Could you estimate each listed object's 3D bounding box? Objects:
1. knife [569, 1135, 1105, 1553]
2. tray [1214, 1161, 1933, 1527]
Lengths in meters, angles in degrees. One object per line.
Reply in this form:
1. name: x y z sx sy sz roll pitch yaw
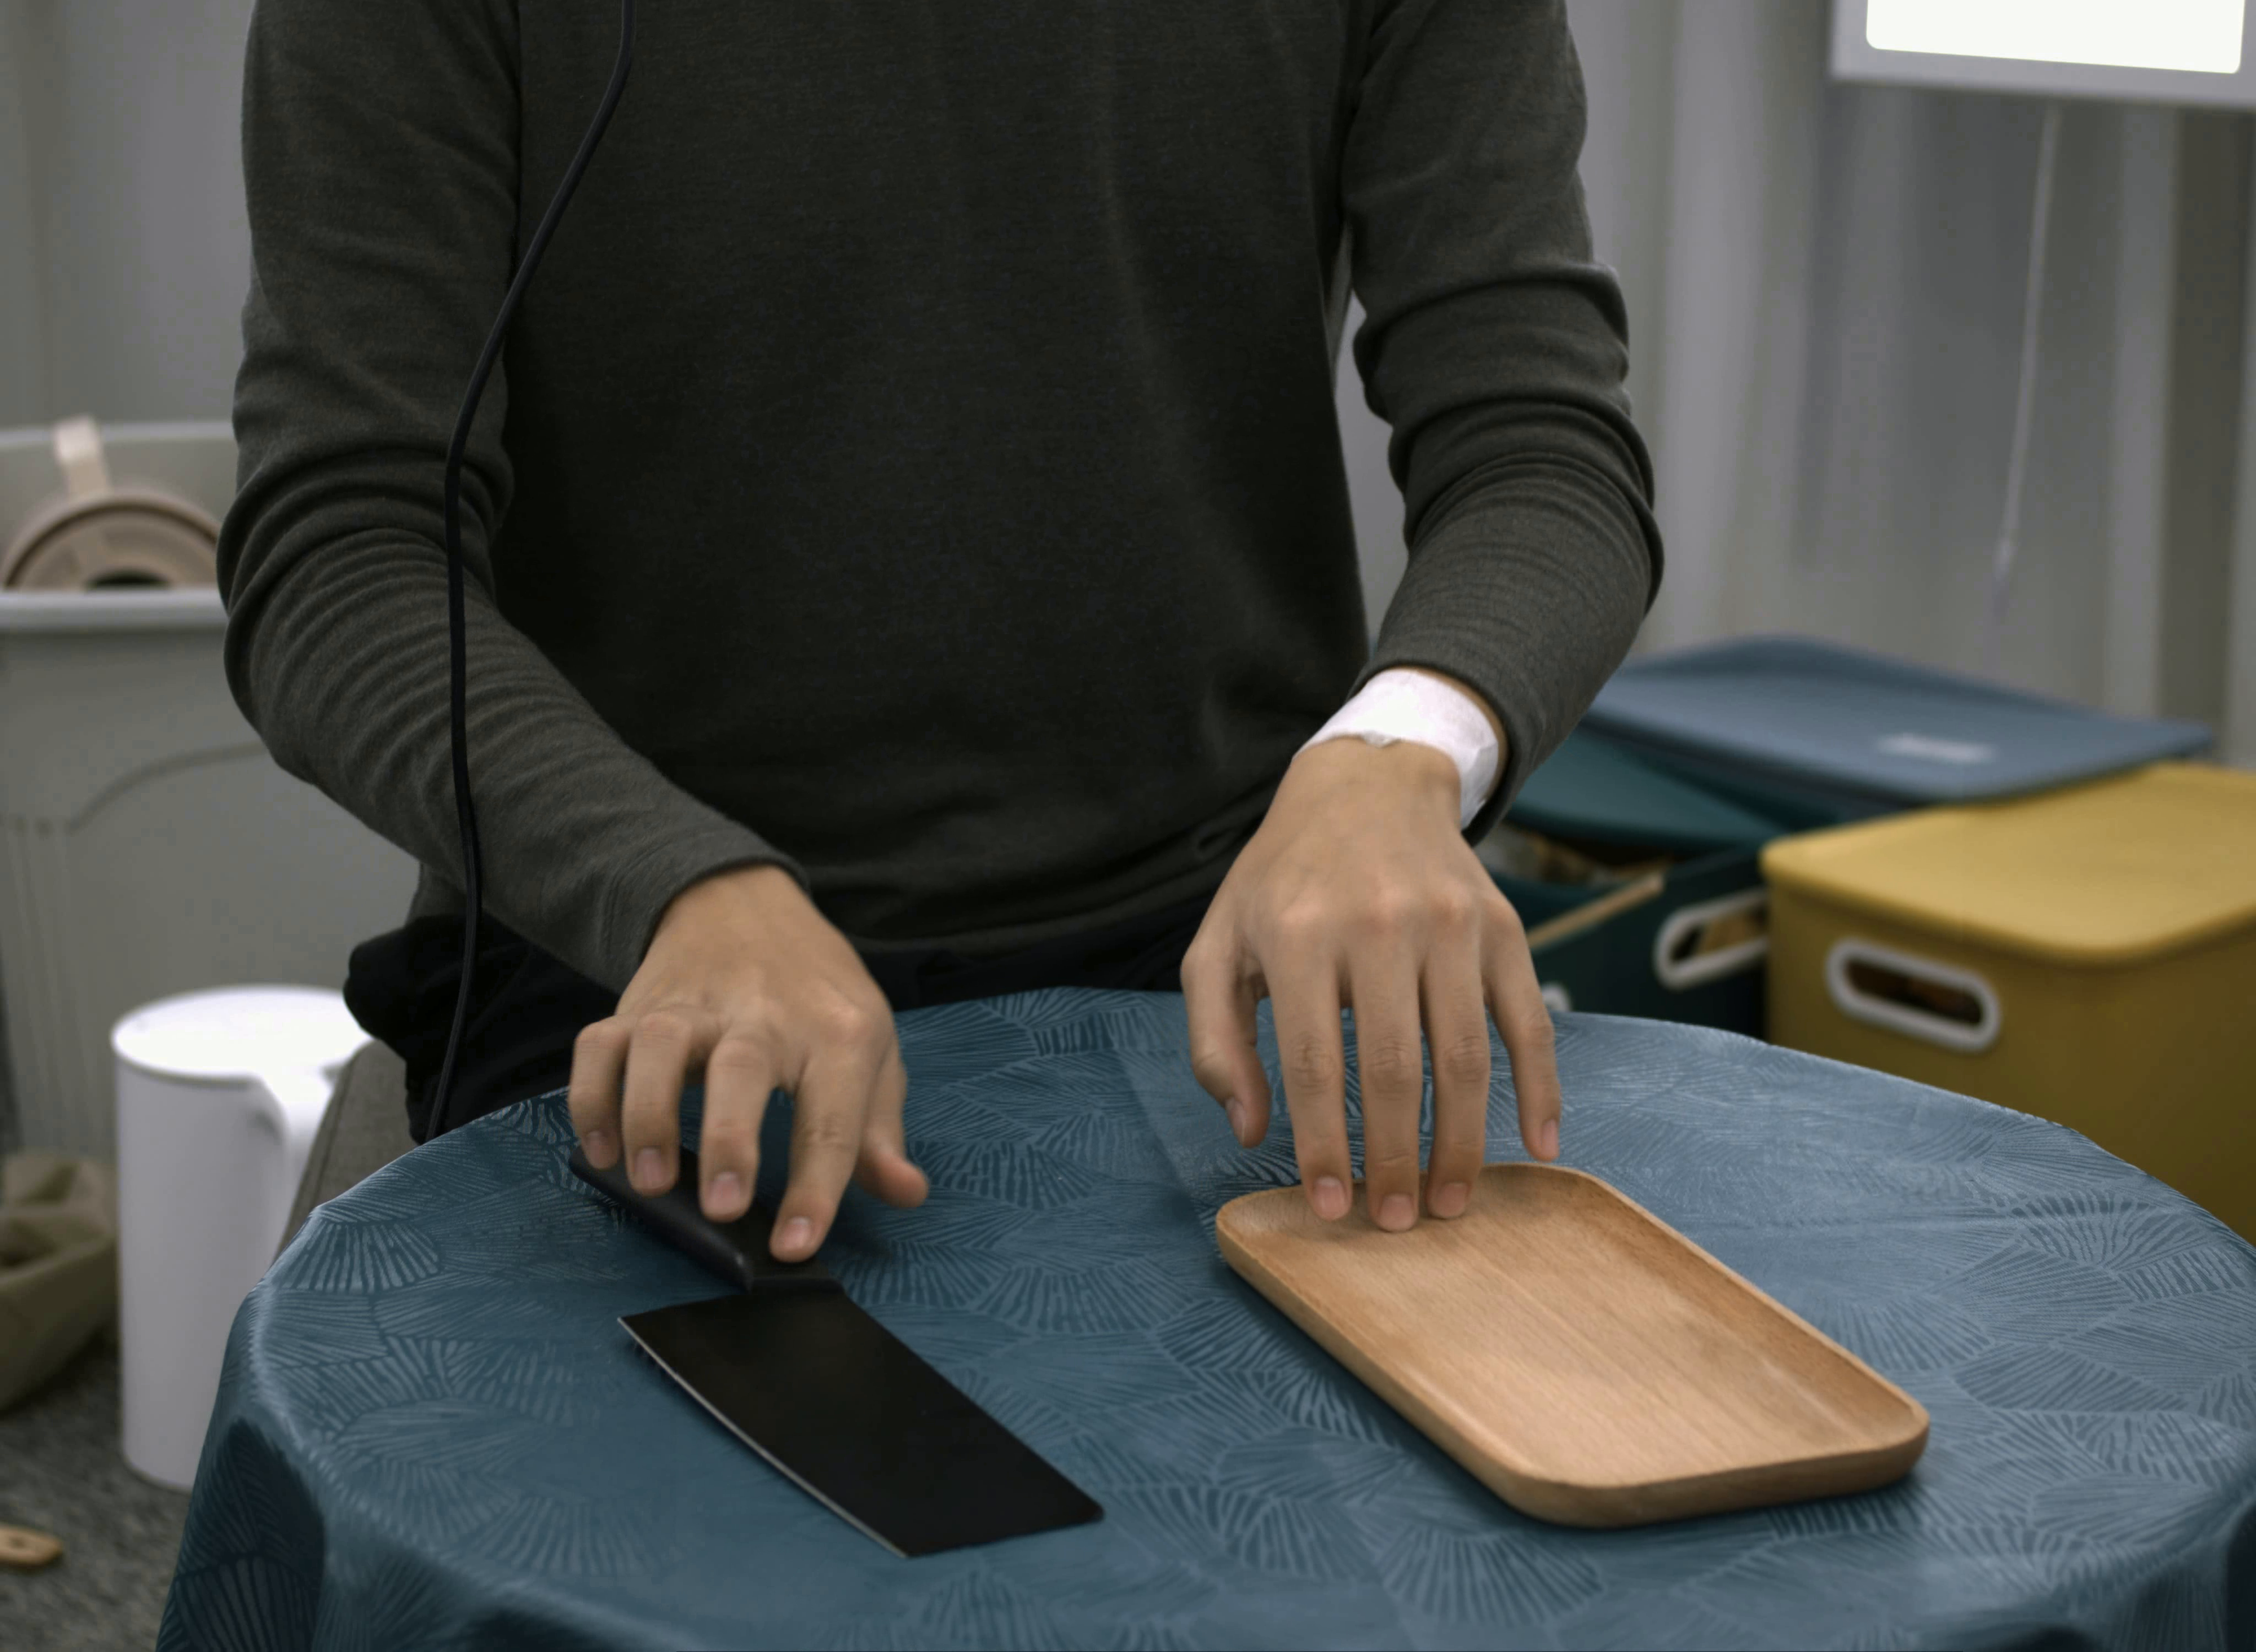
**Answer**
1. knife: -0.099 0.143 1.484 0.081 0.021 0.298 -6 18 -23
2. tray: 0.120 0.143 1.489 0.131 0.023 0.248 -3 14 -20
